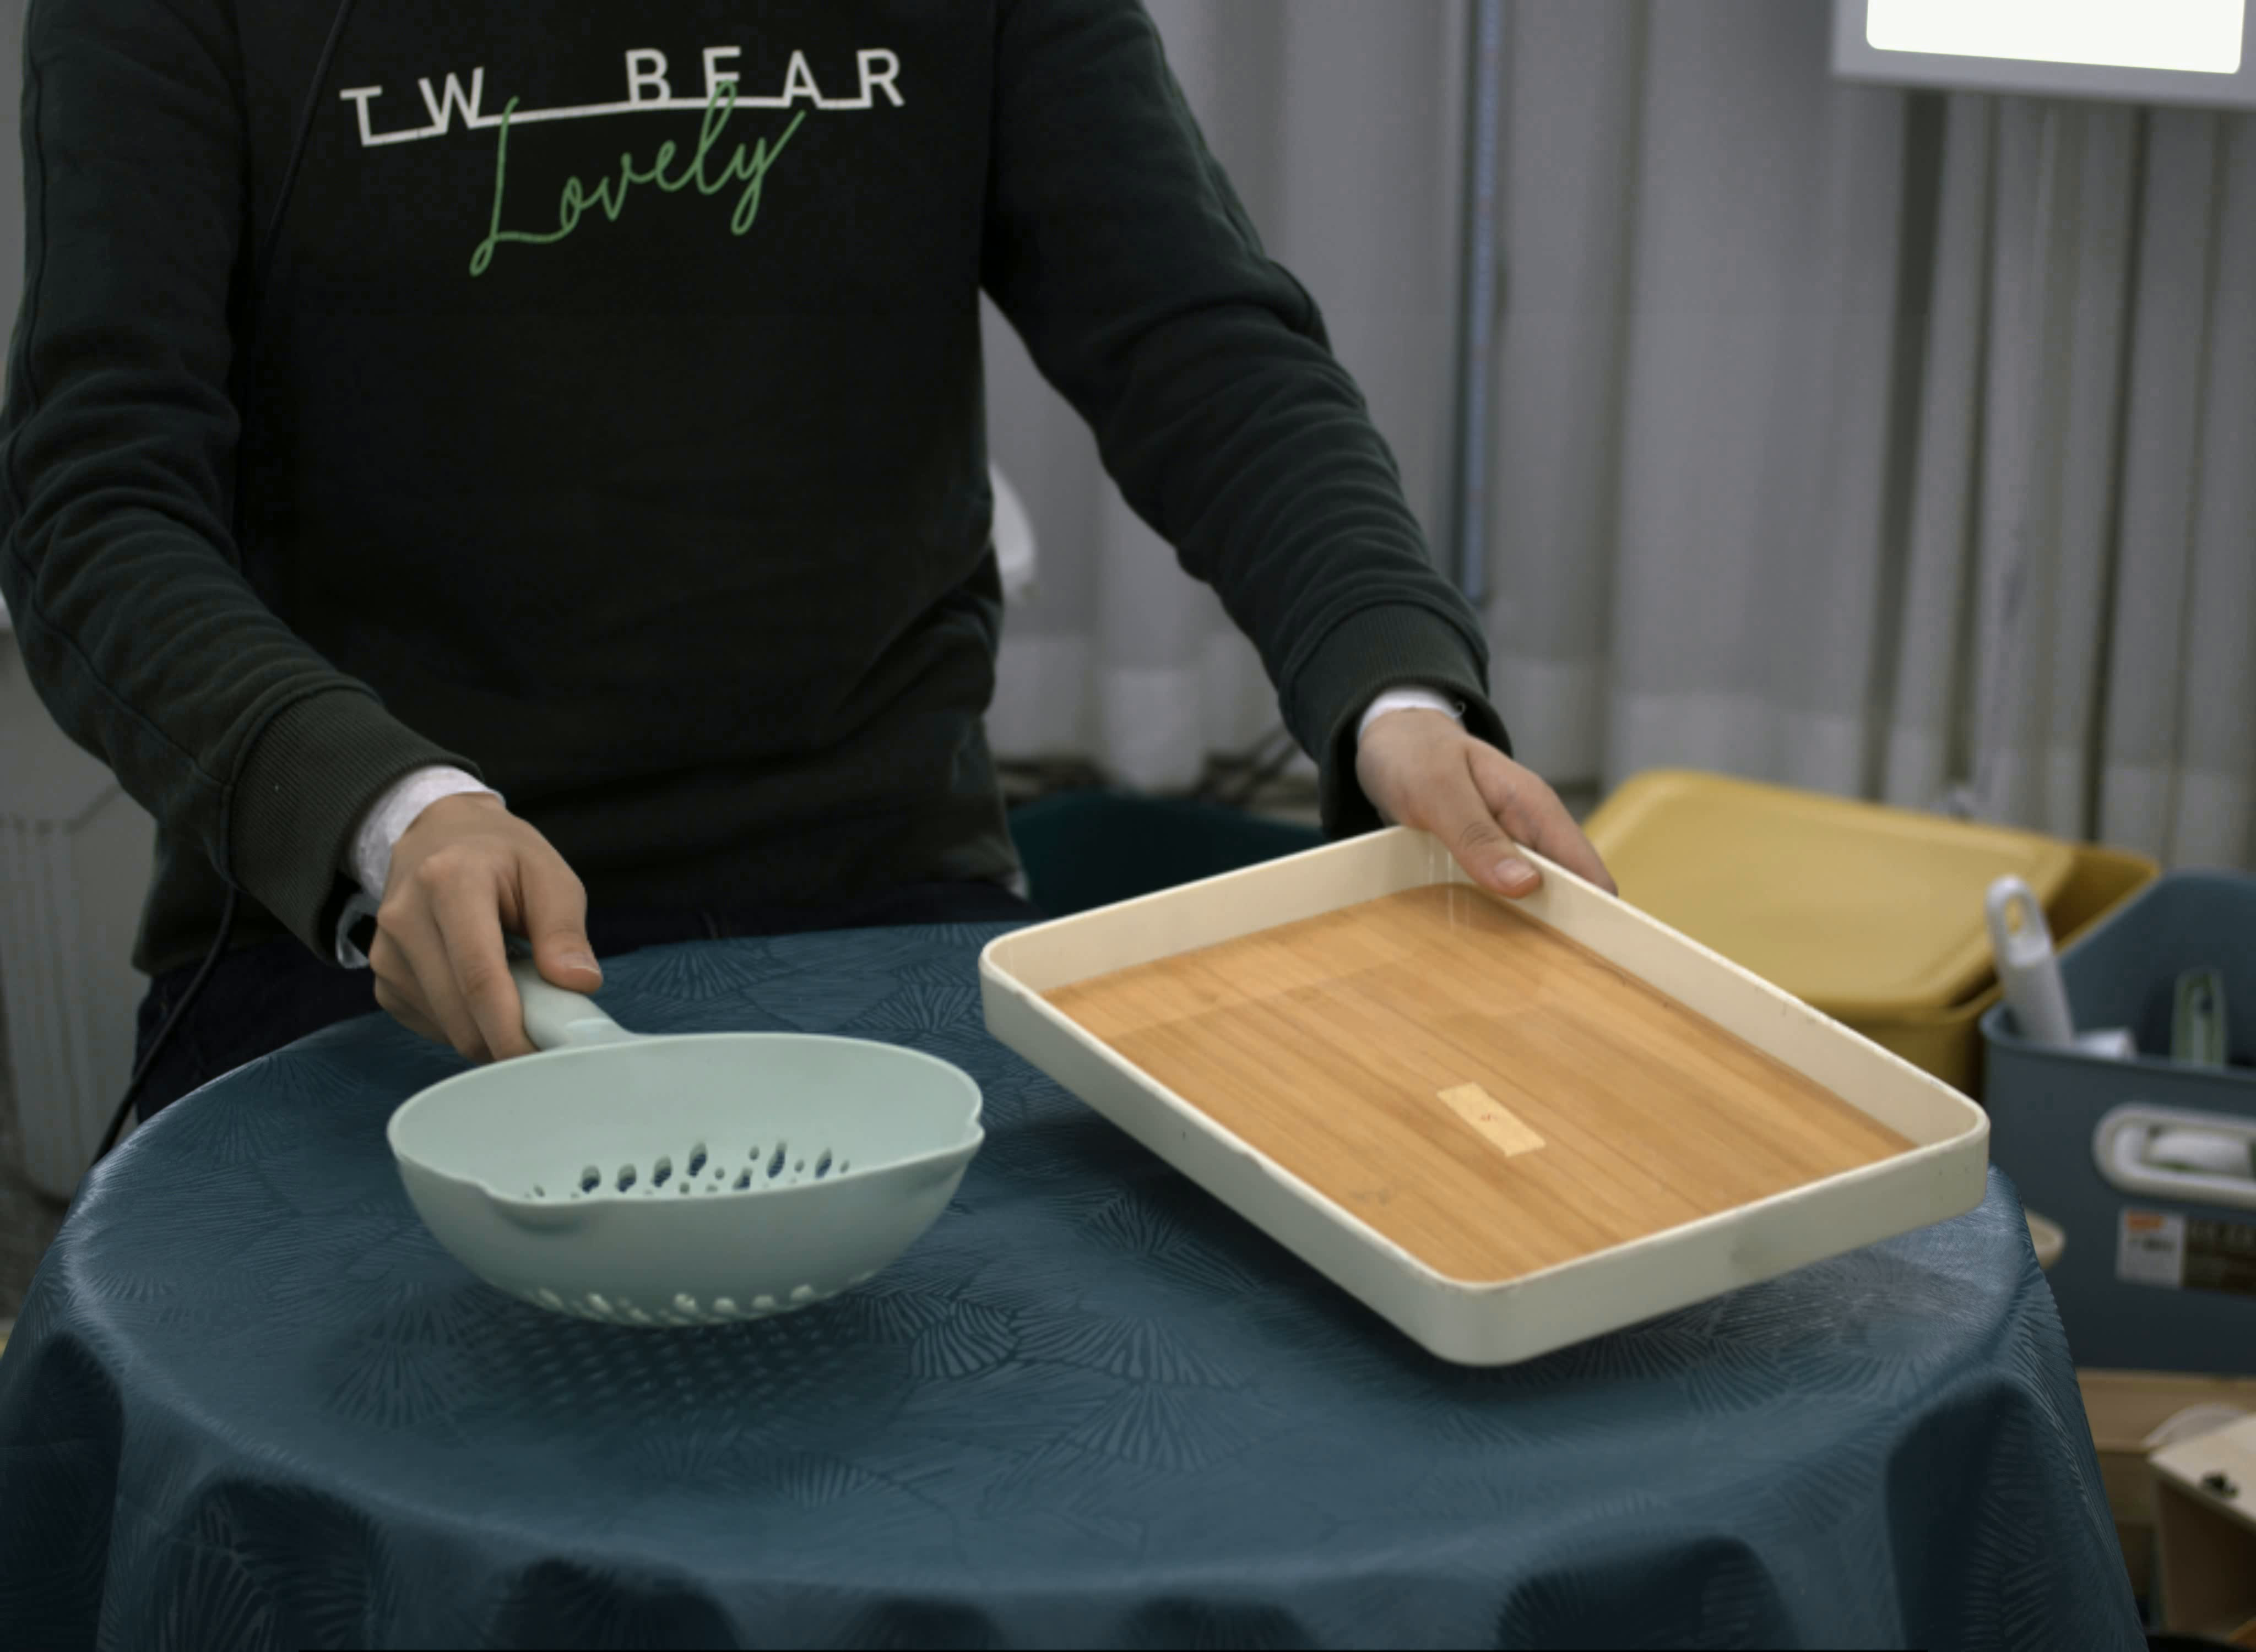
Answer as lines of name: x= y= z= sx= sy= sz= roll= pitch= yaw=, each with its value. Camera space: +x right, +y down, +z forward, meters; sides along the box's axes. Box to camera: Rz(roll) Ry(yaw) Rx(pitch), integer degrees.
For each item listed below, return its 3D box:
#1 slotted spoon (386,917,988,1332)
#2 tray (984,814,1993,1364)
slotted spoon: x=-0.157 y=0.073 z=1.580 sx=0.170 sy=0.076 sz=0.354 roll=-6 pitch=22 yaw=-19
tray: x=0.103 y=0.073 z=1.602 sx=0.192 sy=0.028 sz=0.296 roll=-15 pitch=26 yaw=-26
